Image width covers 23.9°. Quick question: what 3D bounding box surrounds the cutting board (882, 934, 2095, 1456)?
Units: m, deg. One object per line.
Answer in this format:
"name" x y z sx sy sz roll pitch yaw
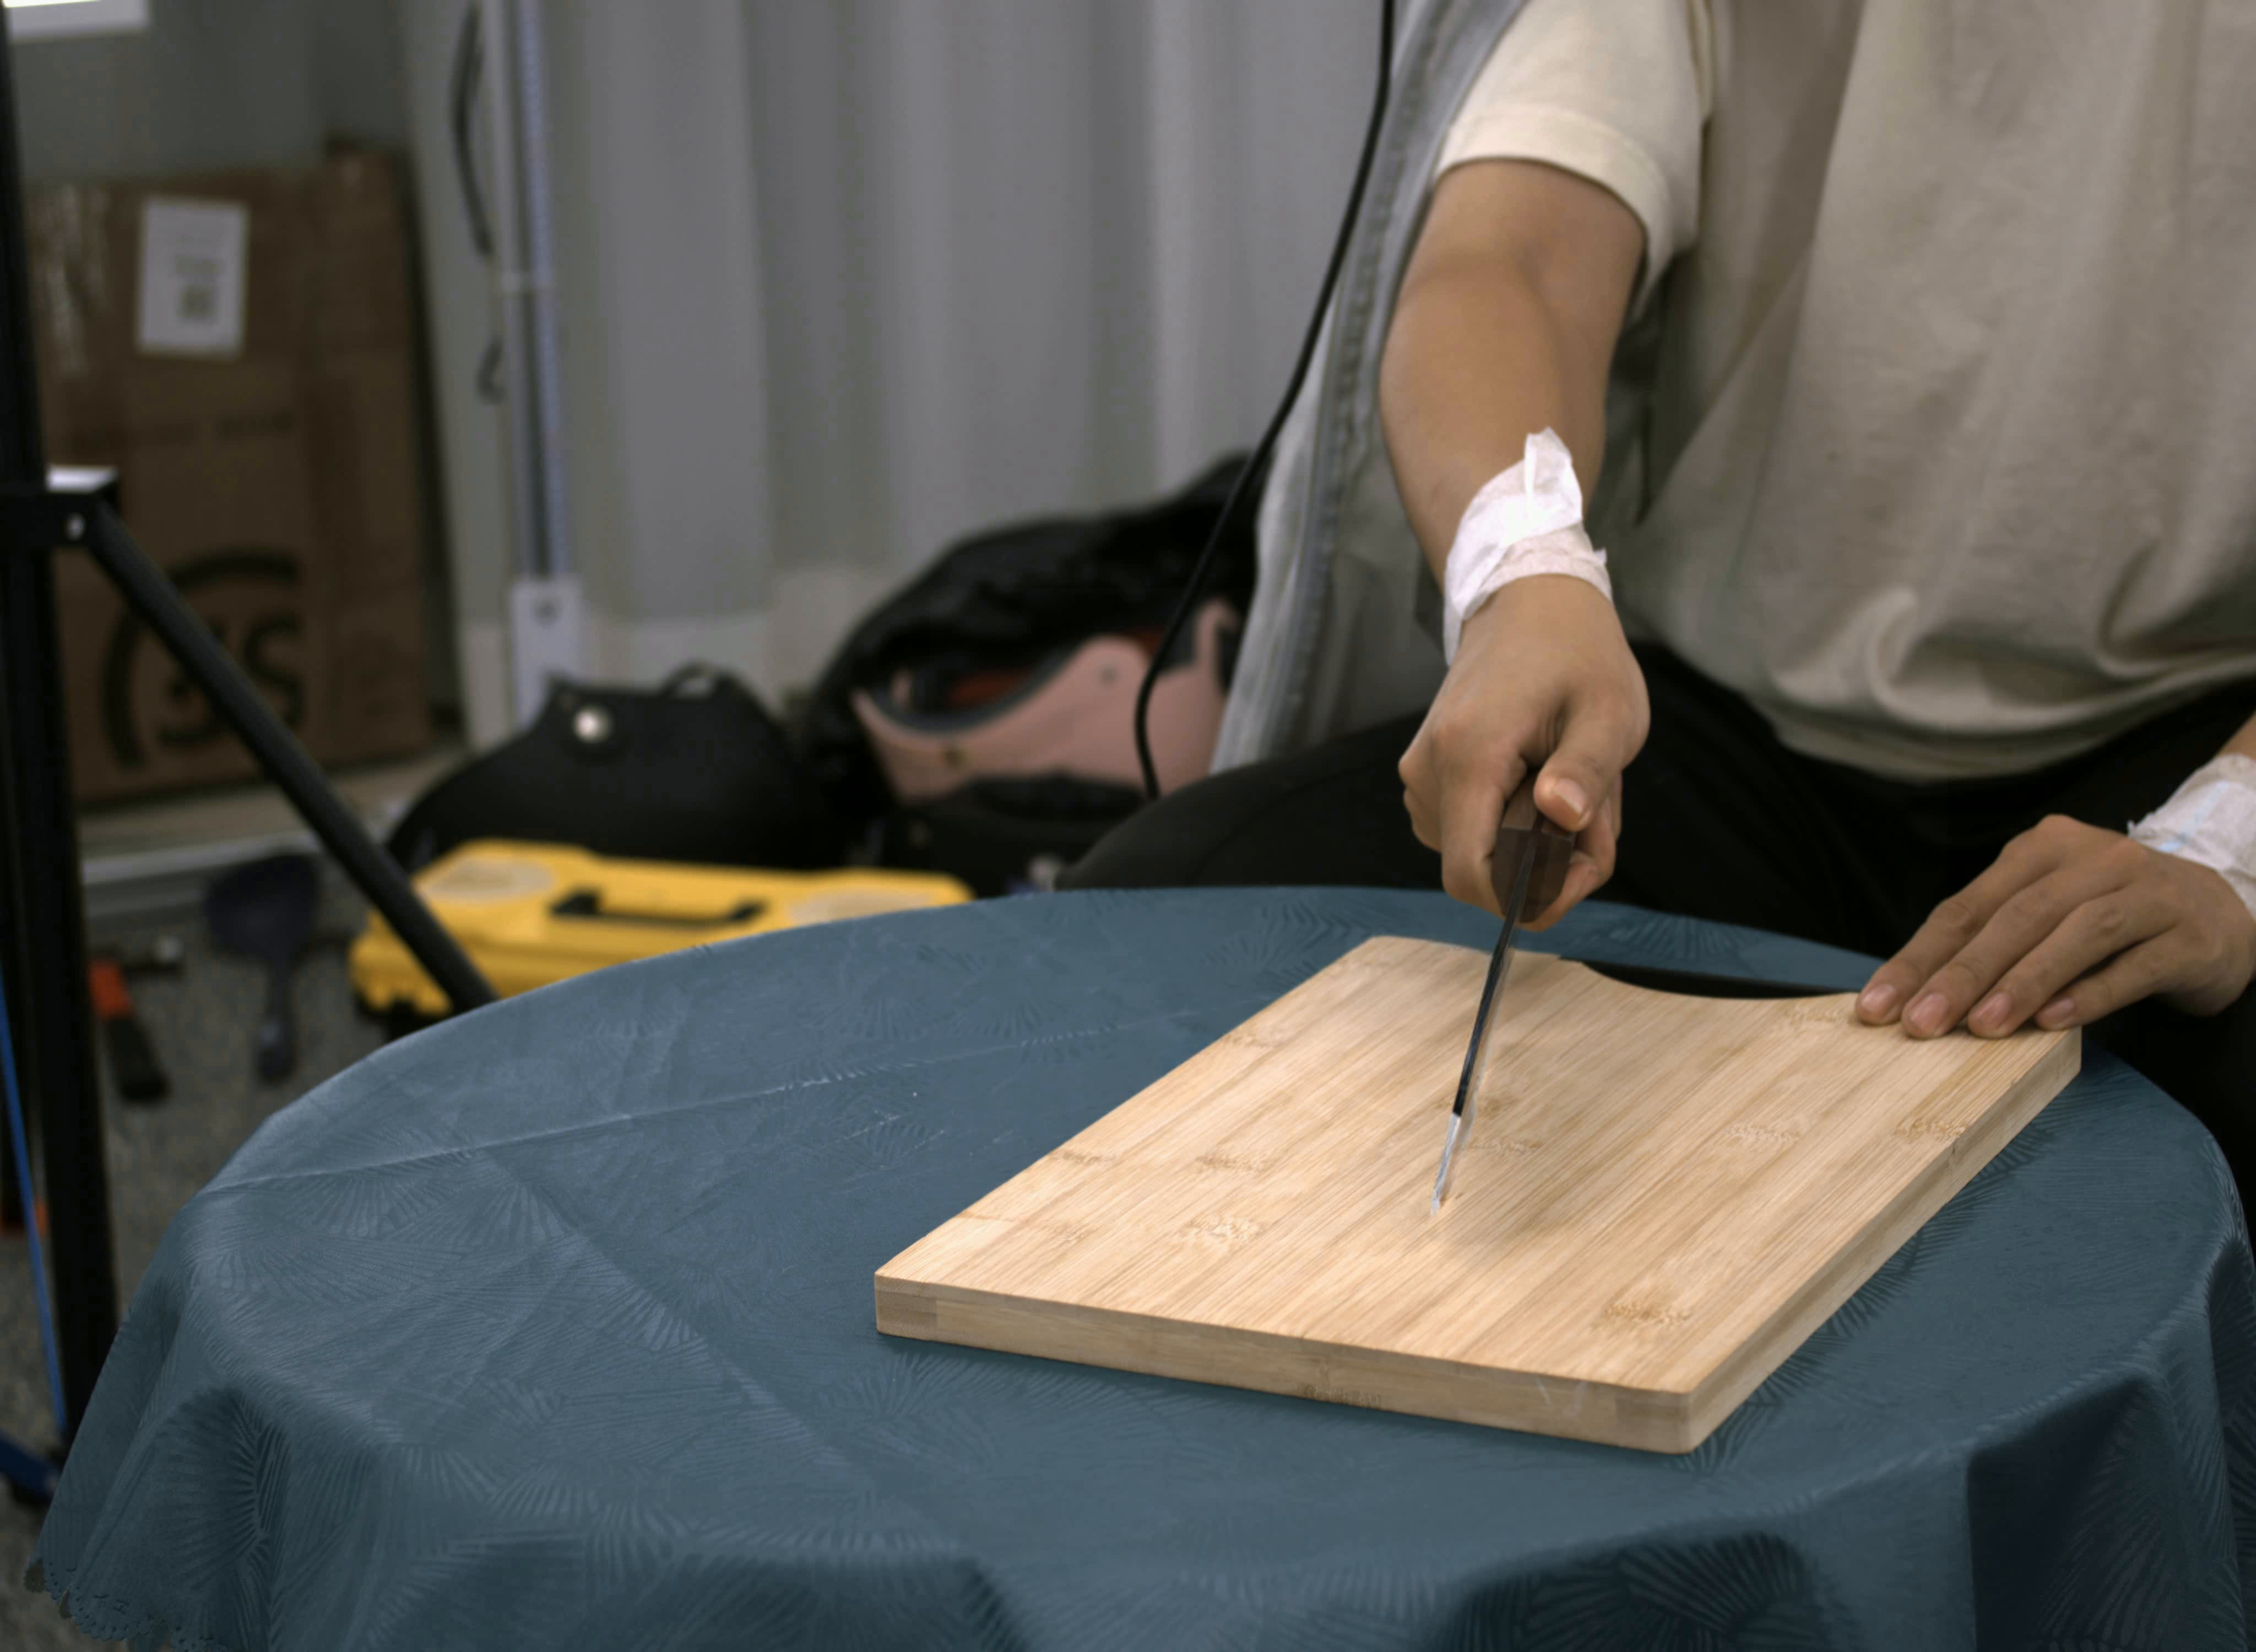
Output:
"cutting board" 0.115 0.098 1.542 0.254 0.023 0.343 5 17 26

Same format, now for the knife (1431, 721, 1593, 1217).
"knife" 0.112 0.039 1.582 0.024 0.068 0.298 13 20 5
